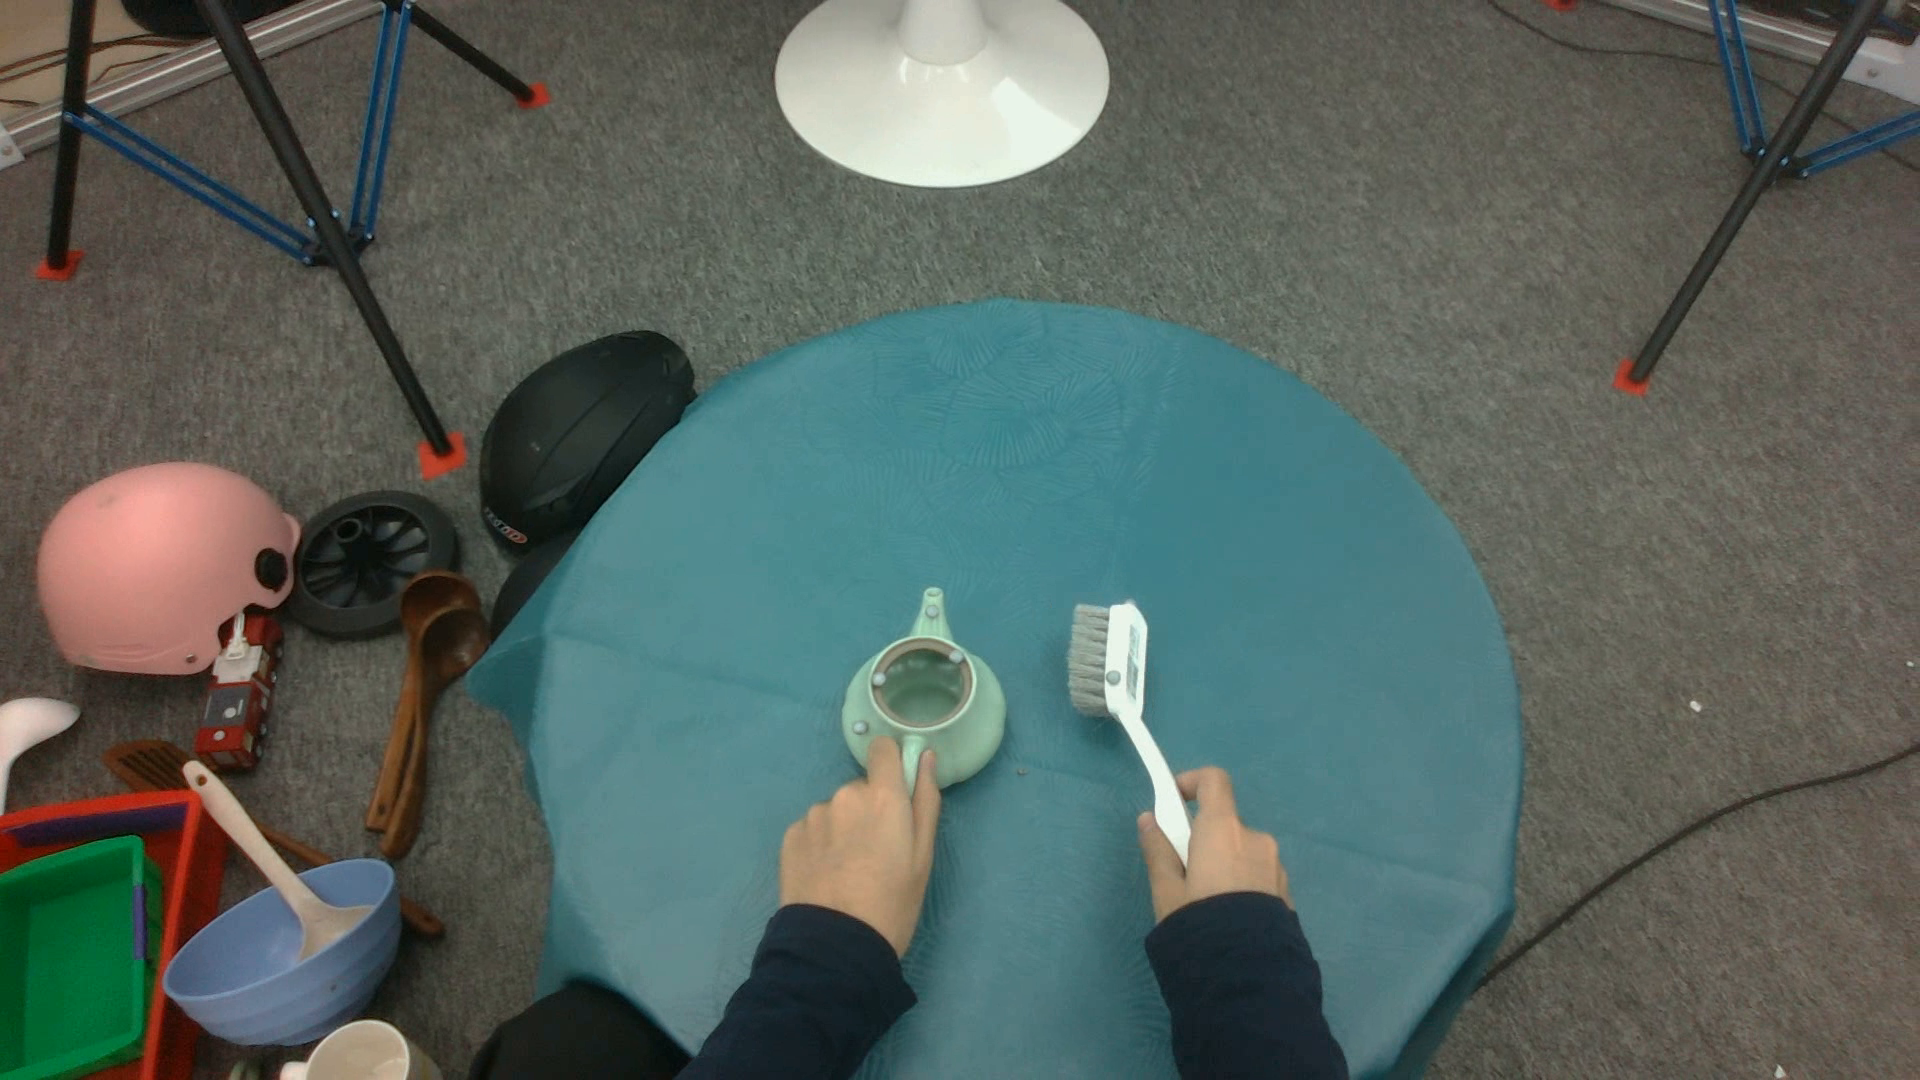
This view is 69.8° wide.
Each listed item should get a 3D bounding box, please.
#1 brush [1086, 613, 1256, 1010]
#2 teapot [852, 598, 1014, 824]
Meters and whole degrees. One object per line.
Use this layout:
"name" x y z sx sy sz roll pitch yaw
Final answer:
"brush" 0.111 0.146 0.772 0.050 0.034 0.244 -20 55 13
"teapot" -0.016 0.105 0.805 0.096 0.061 0.137 4 53 1
